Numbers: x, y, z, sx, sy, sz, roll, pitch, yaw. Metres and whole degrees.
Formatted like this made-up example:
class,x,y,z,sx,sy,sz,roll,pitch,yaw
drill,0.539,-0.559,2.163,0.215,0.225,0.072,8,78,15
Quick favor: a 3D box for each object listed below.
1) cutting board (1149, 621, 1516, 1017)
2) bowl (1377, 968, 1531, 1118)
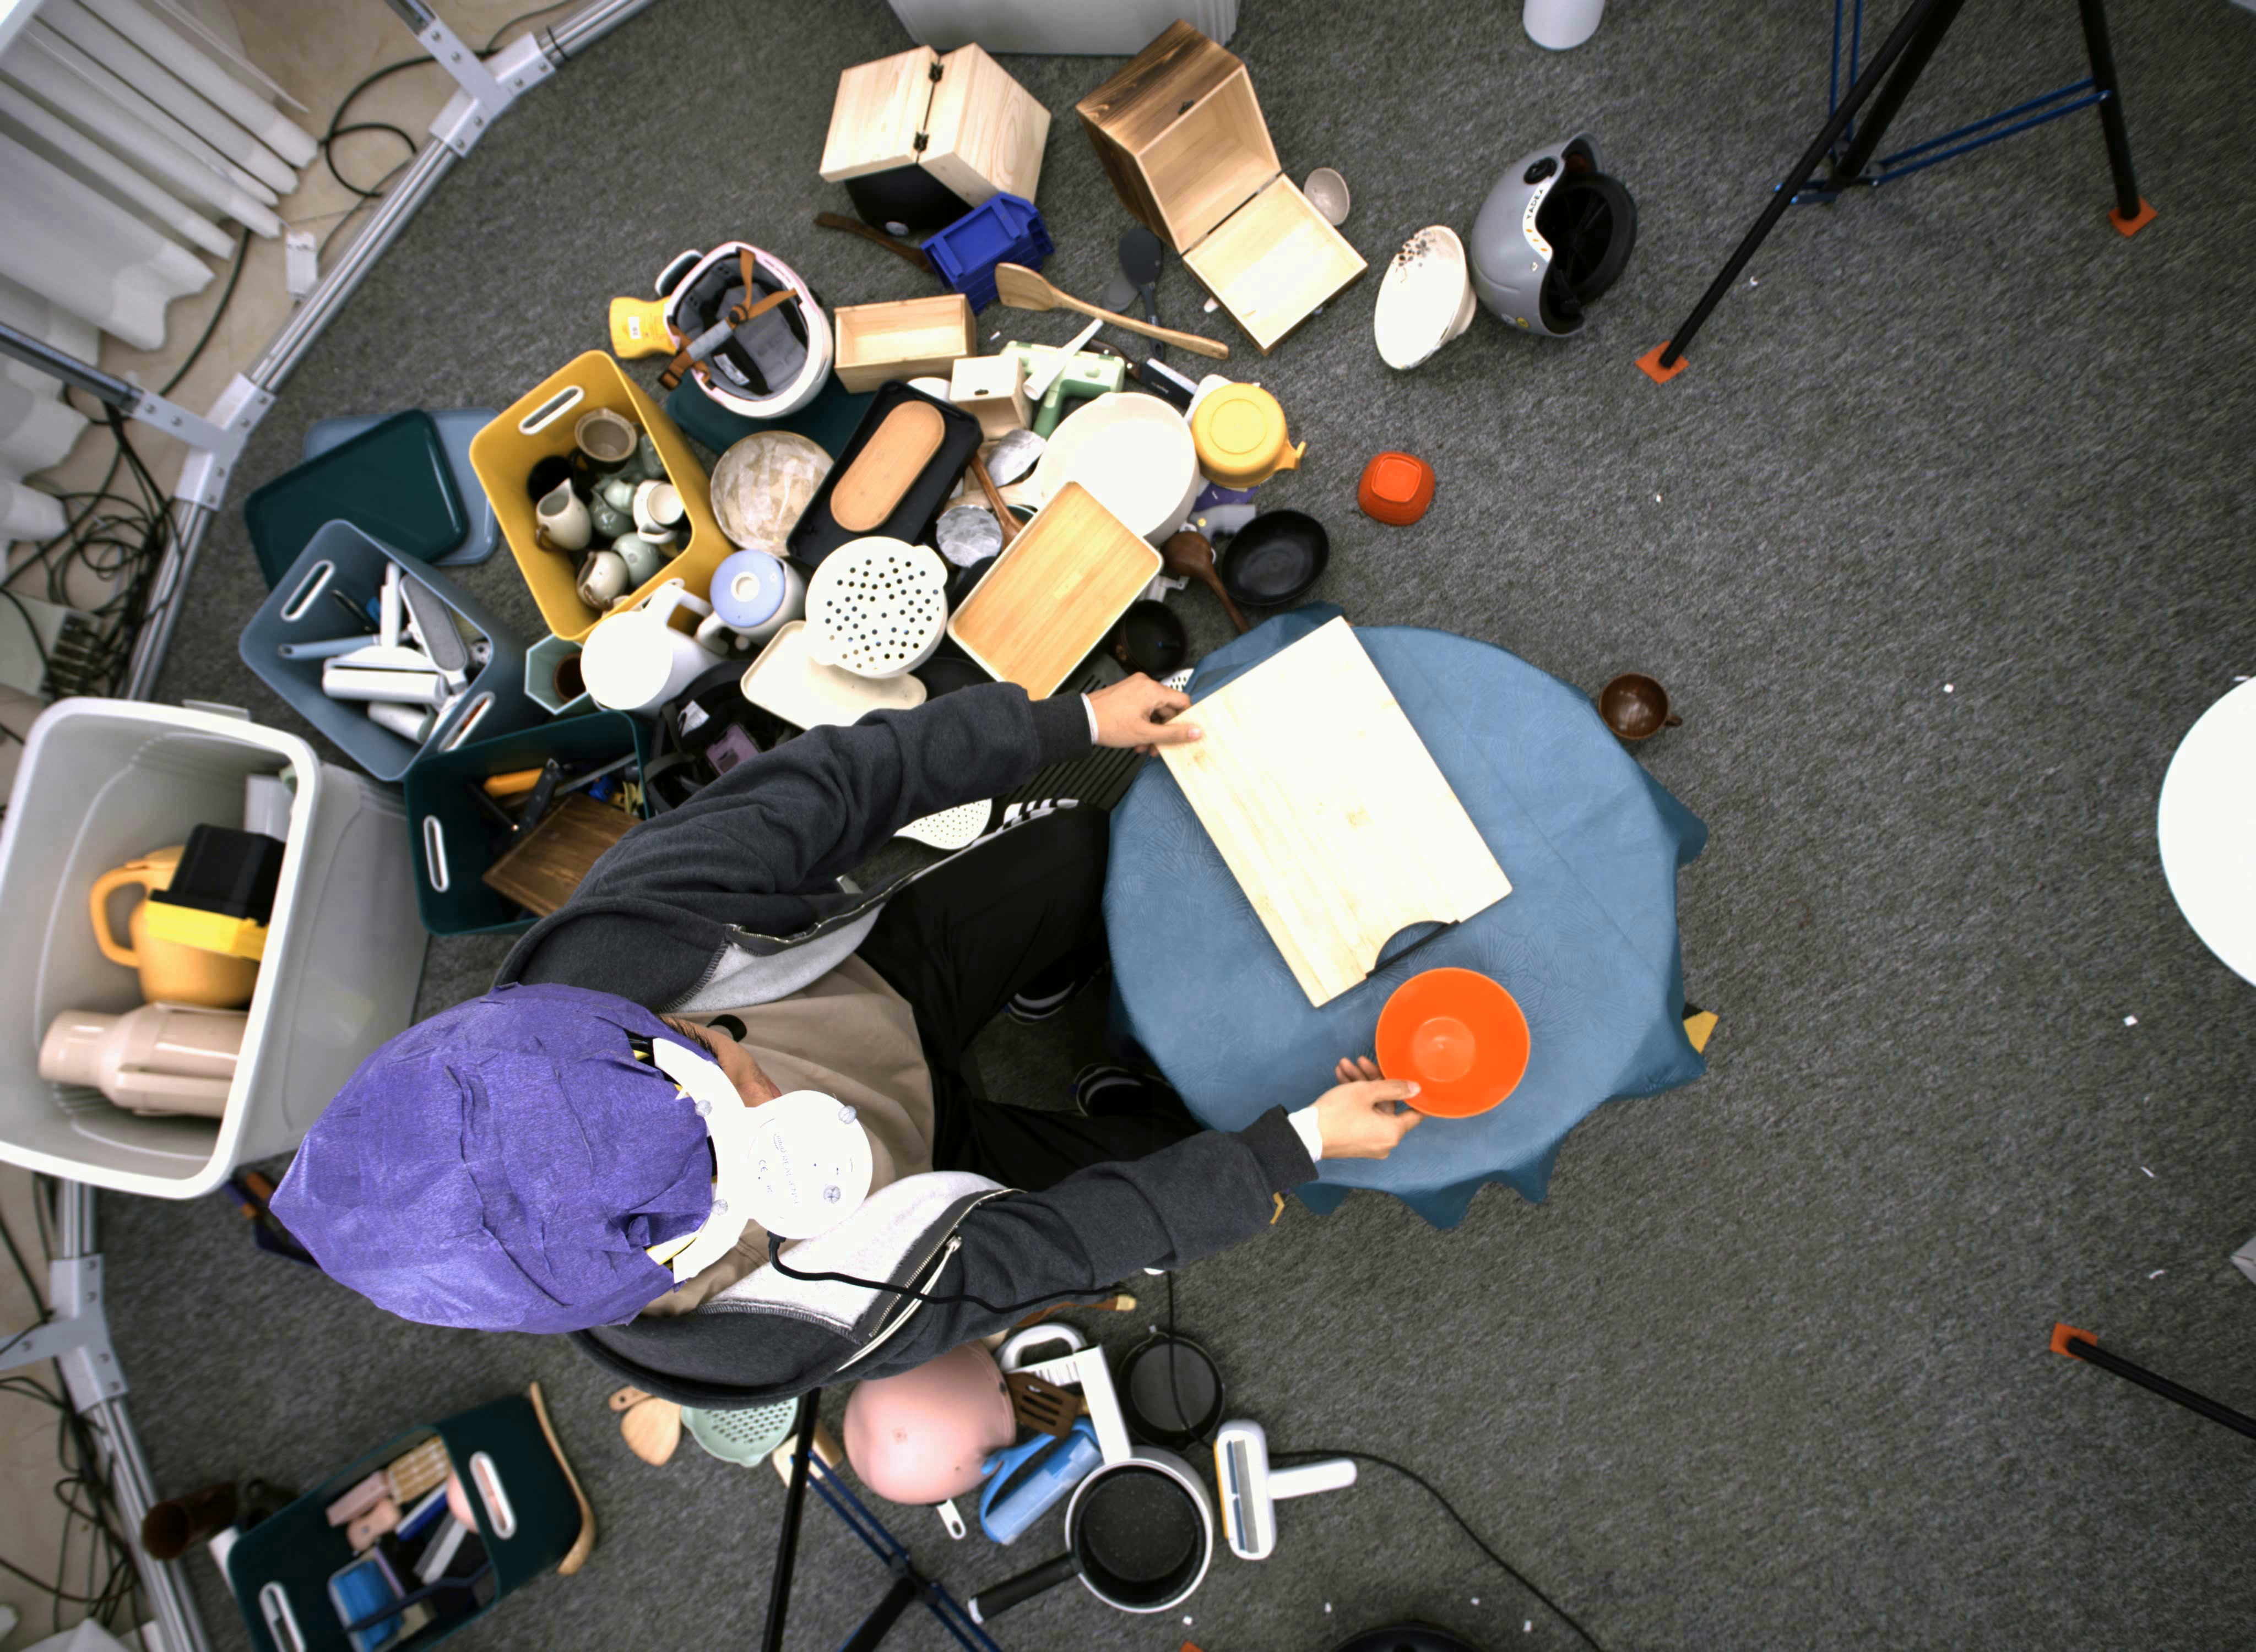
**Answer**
class,x,y,z,sx,sy,sz,roll,pitch,yaw
cutting board,0.213,-0.011,1.450,0.252,0.023,0.348,-32,87,8
bowl,0.324,0.215,1.390,0.148,0.105,0.147,-1,86,9
